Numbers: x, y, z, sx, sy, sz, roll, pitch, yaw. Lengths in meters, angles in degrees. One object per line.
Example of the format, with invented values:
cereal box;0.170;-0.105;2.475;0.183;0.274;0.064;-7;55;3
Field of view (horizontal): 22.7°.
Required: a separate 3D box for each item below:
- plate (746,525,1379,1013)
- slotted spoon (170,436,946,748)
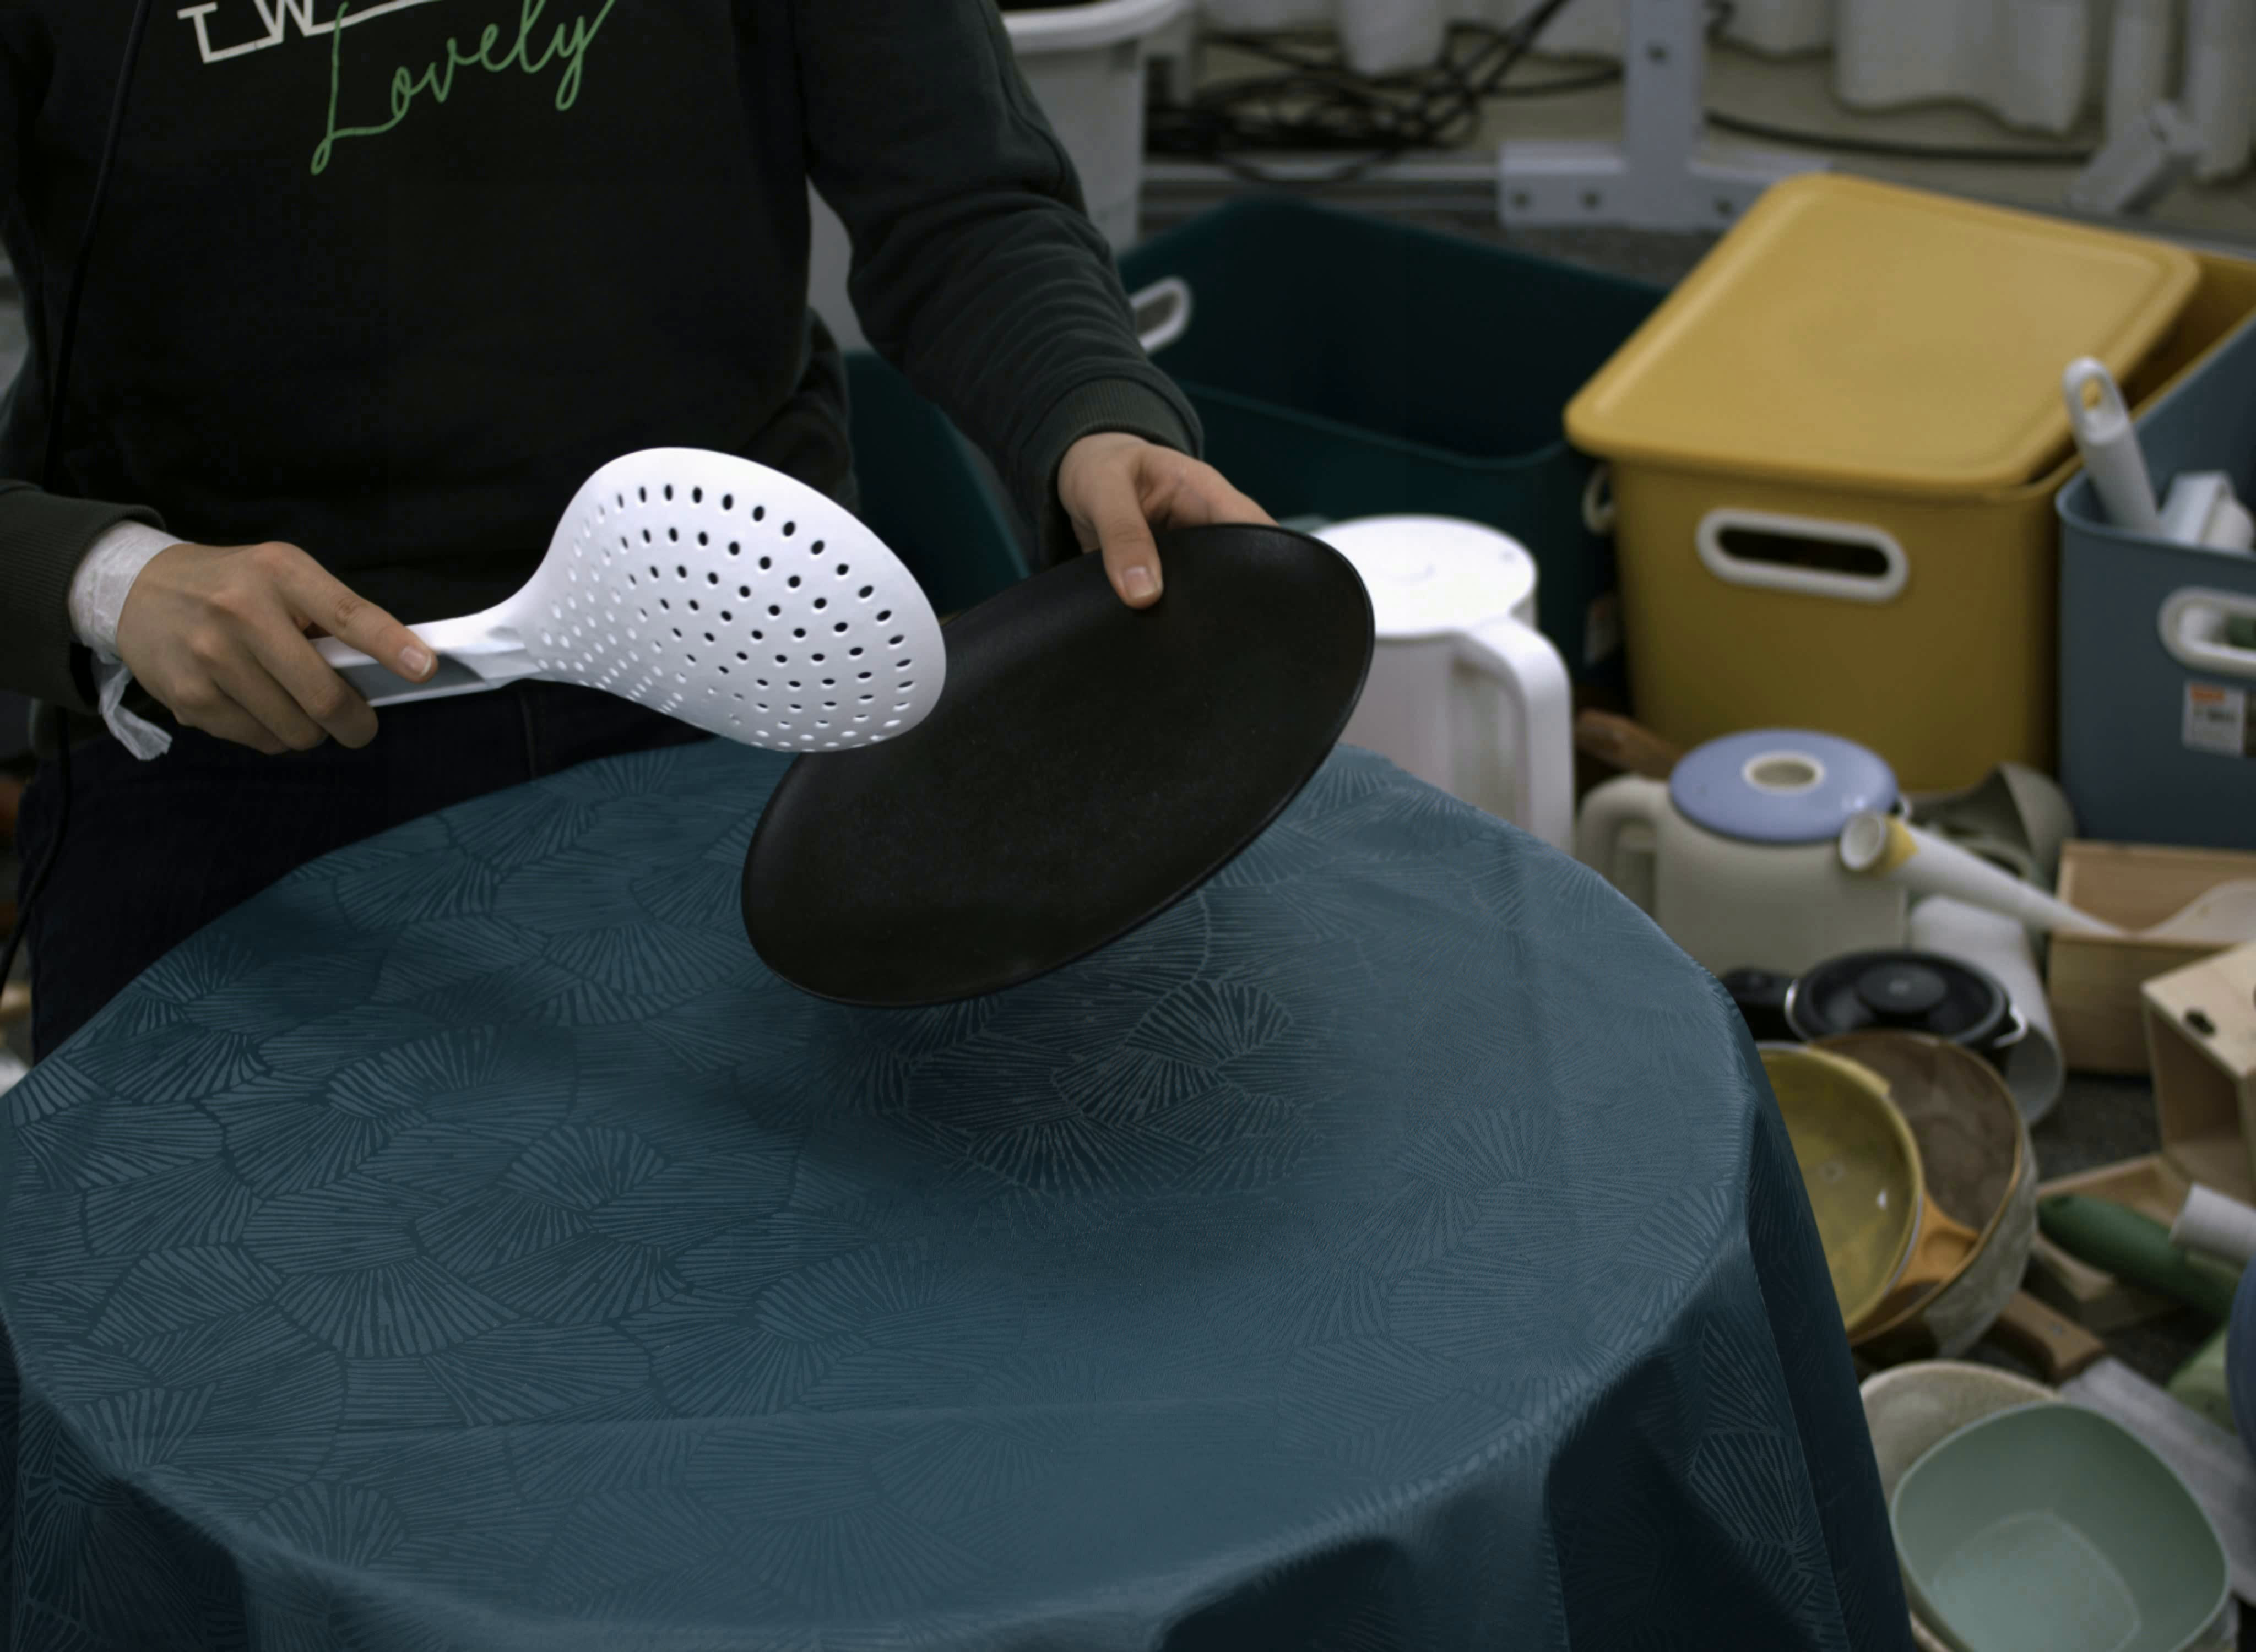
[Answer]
plate;-0.020;-0.015;1.917;0.242;0.023;0.249;-22;31;15
slotted spoon;-0.206;-0.061;1.919;0.346;0.135;0.046;-3;42;43
